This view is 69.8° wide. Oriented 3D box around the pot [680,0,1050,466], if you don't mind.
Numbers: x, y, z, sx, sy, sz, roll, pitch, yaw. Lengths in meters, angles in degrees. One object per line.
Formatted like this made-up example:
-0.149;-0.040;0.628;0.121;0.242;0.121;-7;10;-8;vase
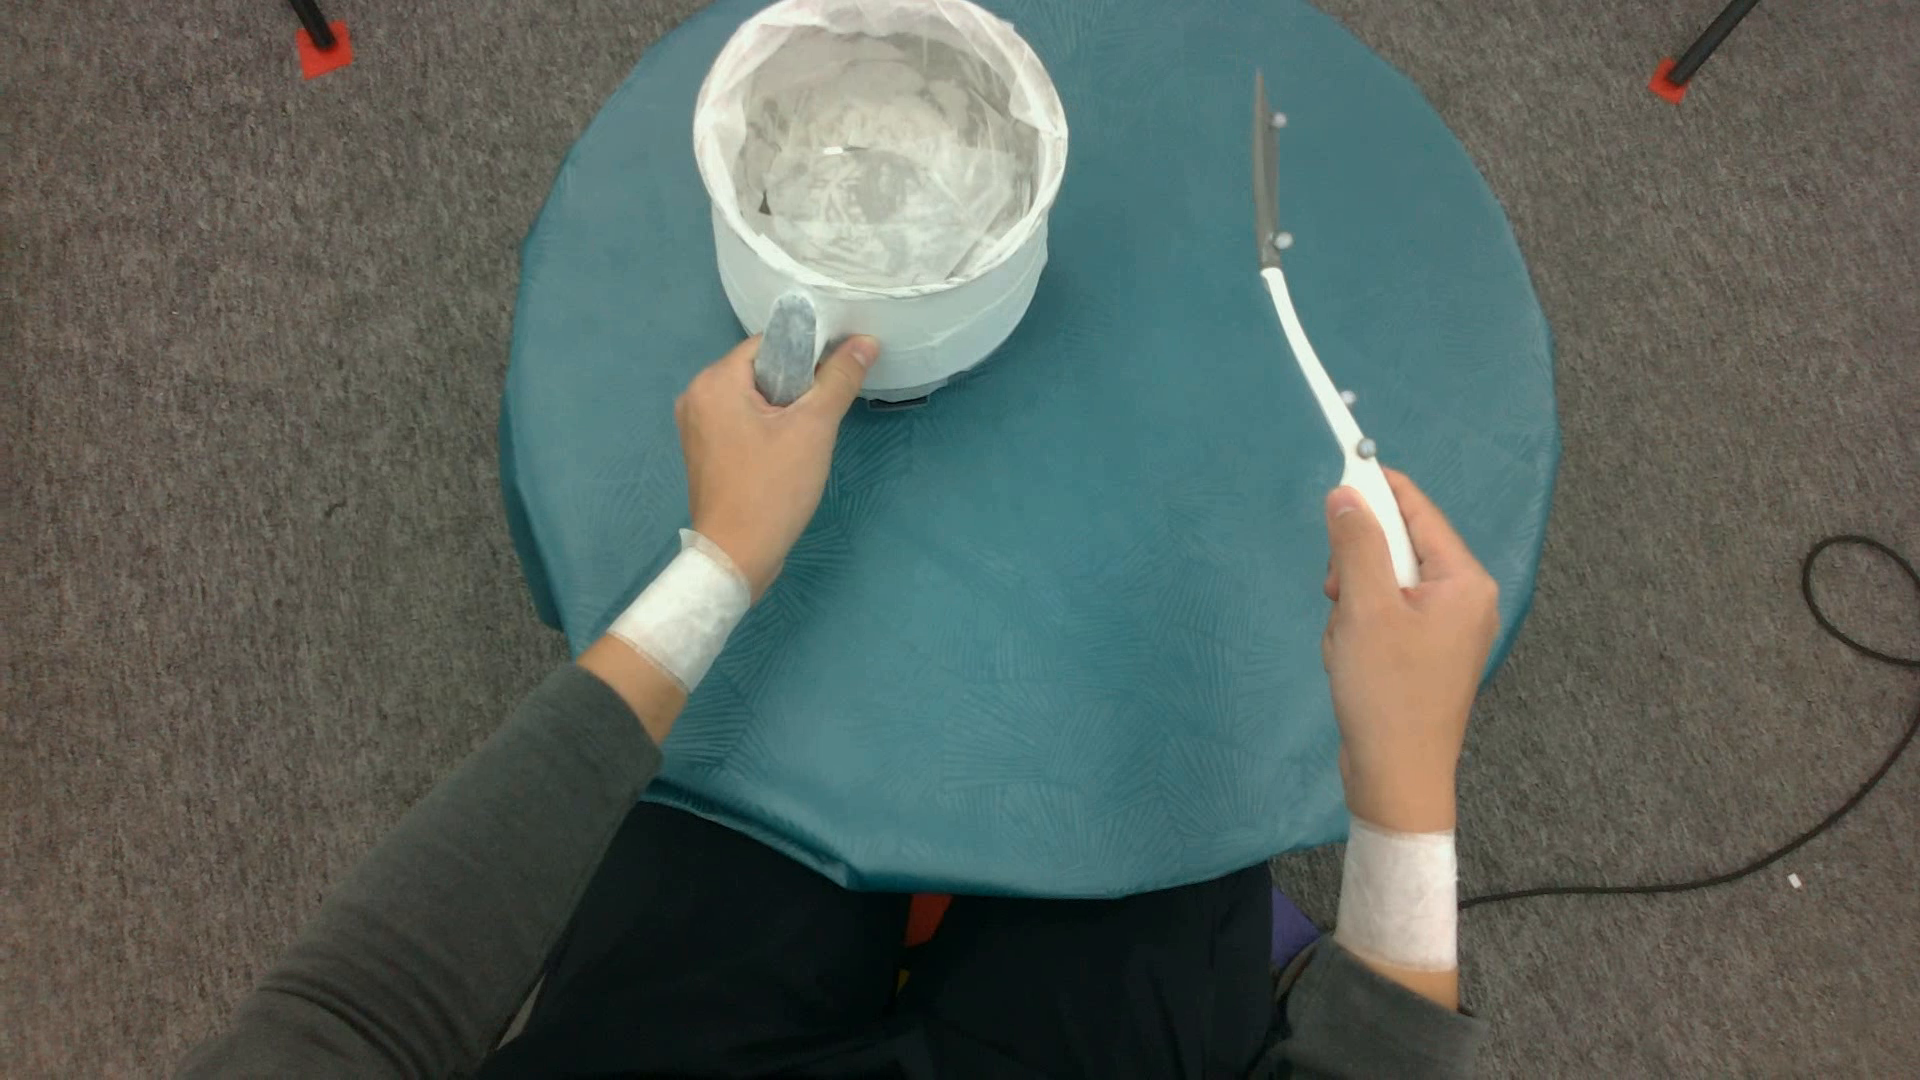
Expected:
-0.059;-0.155;0.708;0.179;0.136;0.234;21;71;3;pot

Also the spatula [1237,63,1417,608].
0.161;-0.104;0.654;0.032;0.058;0.288;-18;62;19;spatula
